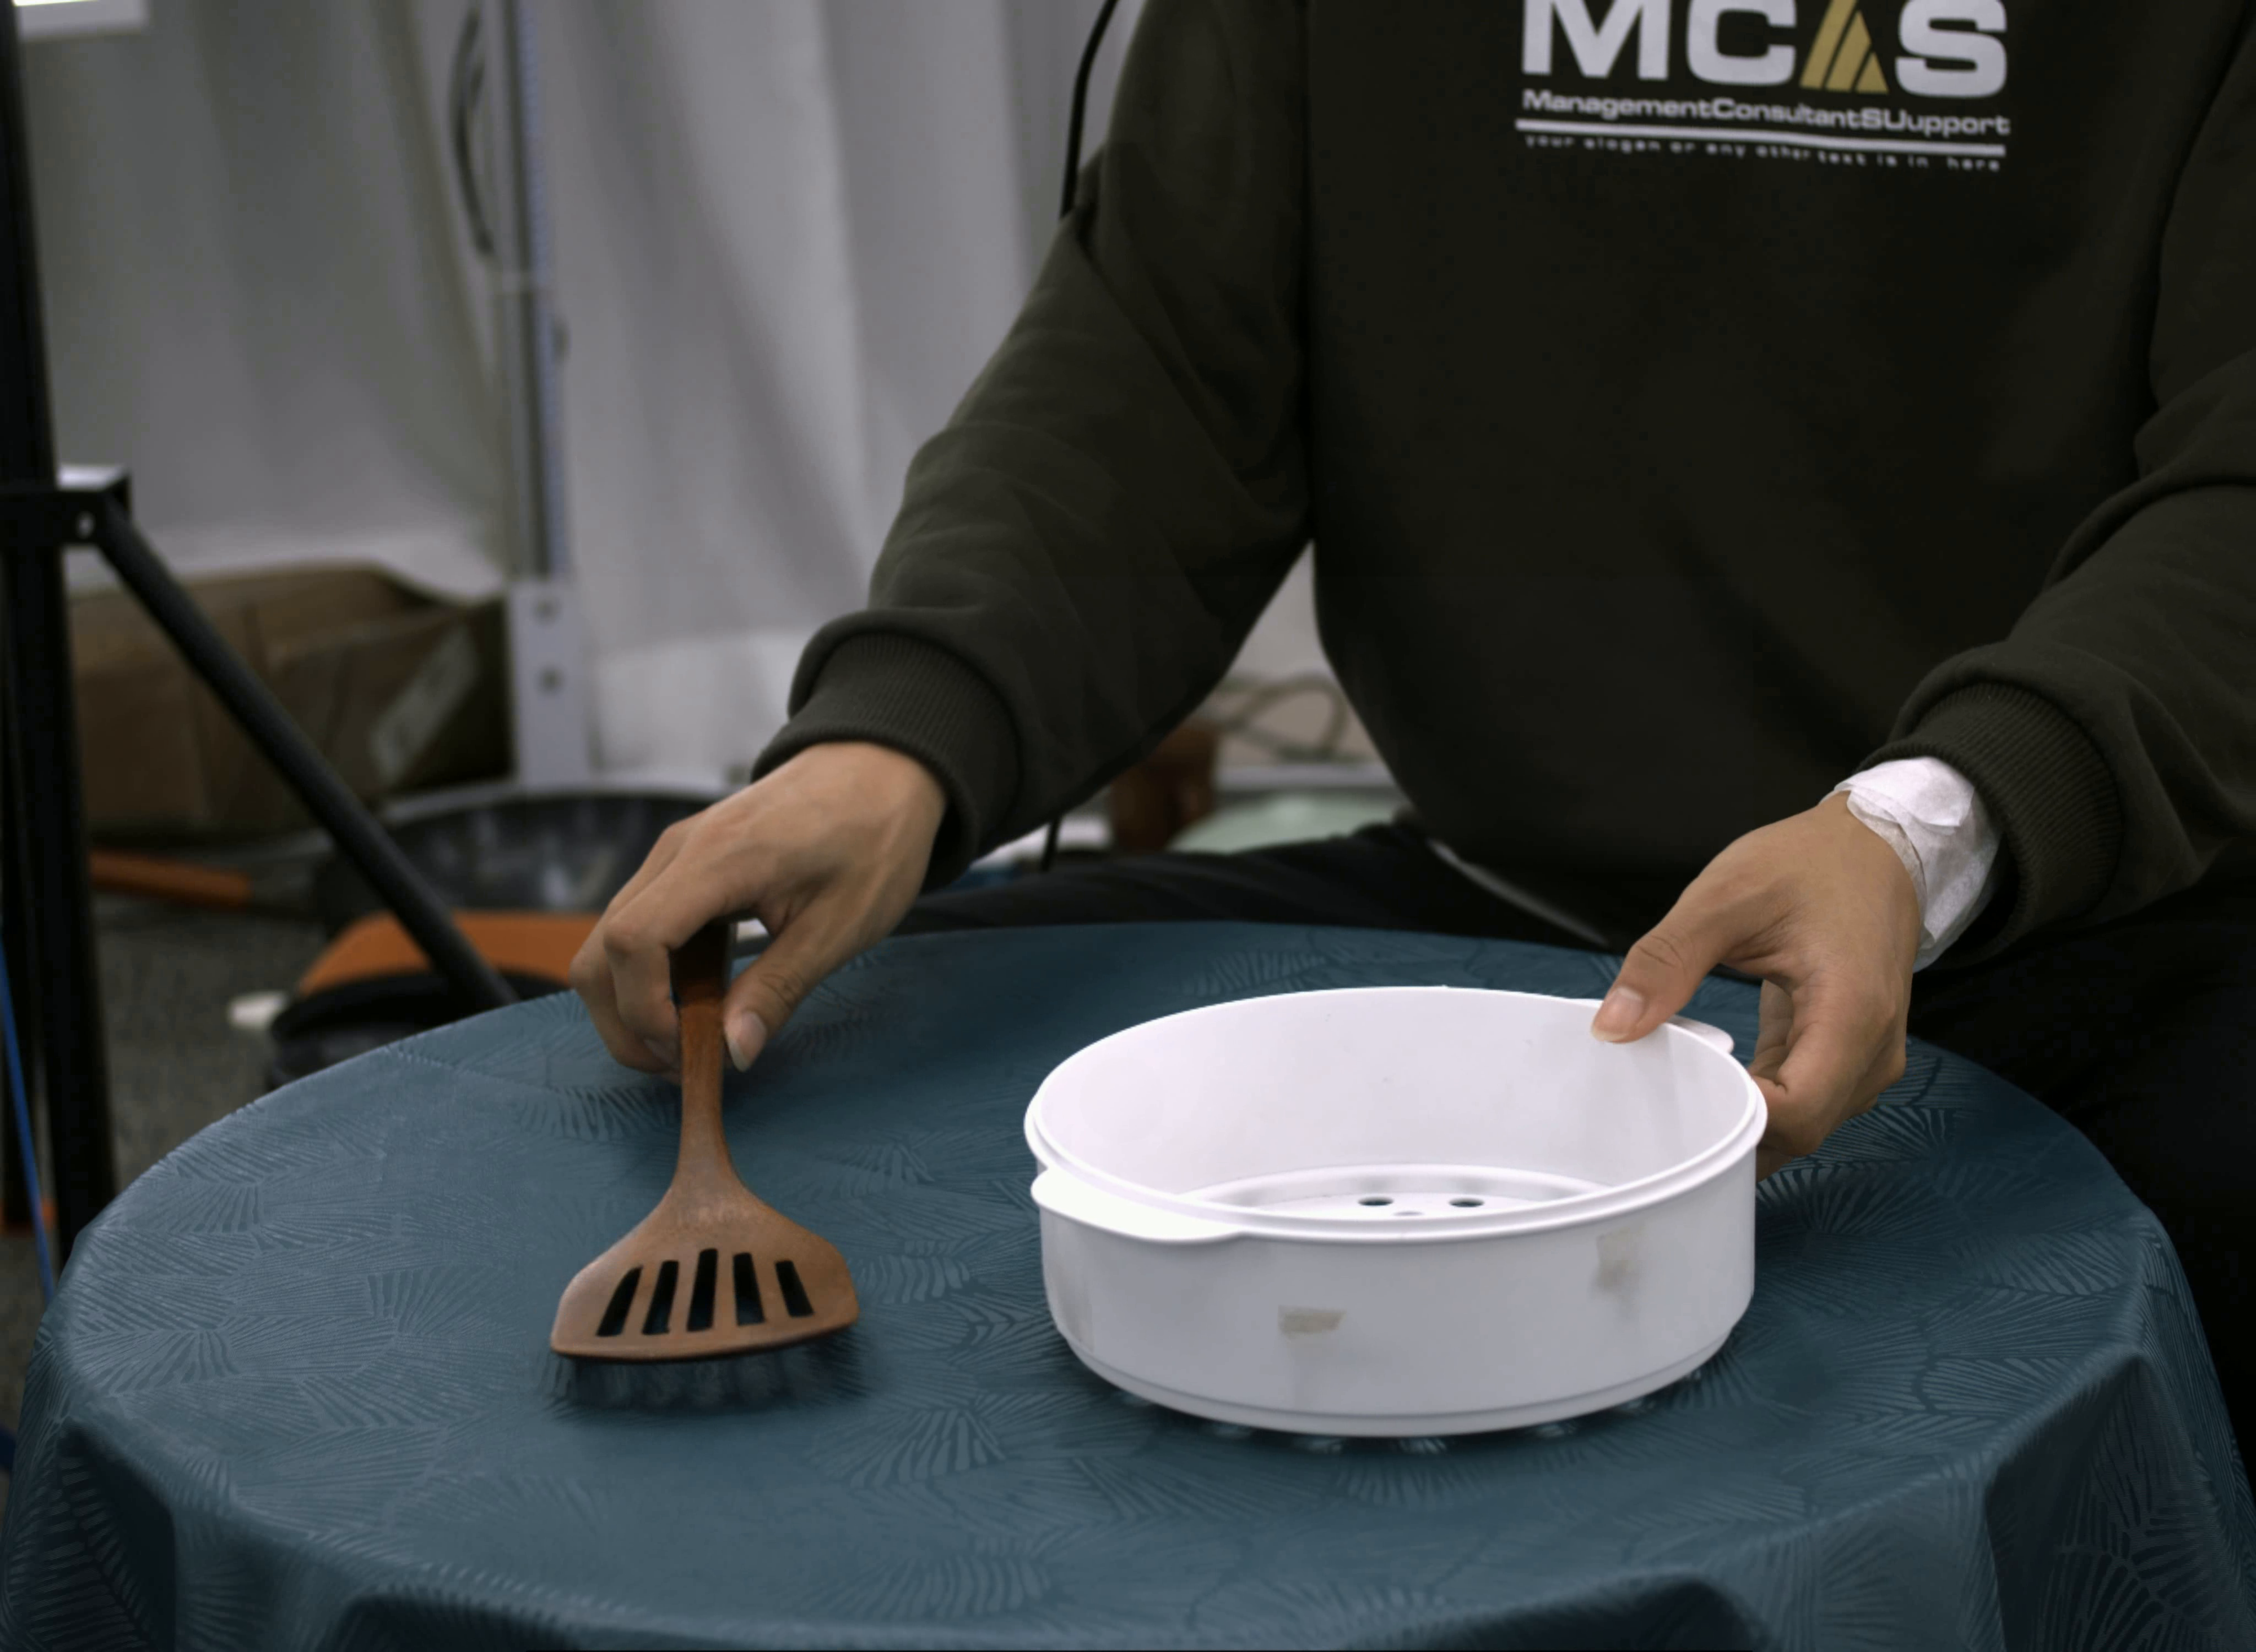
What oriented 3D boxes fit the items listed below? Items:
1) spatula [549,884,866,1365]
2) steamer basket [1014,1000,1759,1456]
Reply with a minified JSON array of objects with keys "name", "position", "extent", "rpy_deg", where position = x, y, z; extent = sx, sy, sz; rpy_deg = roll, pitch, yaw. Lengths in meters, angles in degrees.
[{"name":"spatula","position":[-0.127,0.086,1.592],"extent":[0.085,0.023,0.388],"rpy_deg":[-5,19,-4]},{"name":"steamer basket","position":[0.068,0.108,1.435],"extent":[0.225,0.069,0.206],"rpy_deg":[-12,20,-41]}]
